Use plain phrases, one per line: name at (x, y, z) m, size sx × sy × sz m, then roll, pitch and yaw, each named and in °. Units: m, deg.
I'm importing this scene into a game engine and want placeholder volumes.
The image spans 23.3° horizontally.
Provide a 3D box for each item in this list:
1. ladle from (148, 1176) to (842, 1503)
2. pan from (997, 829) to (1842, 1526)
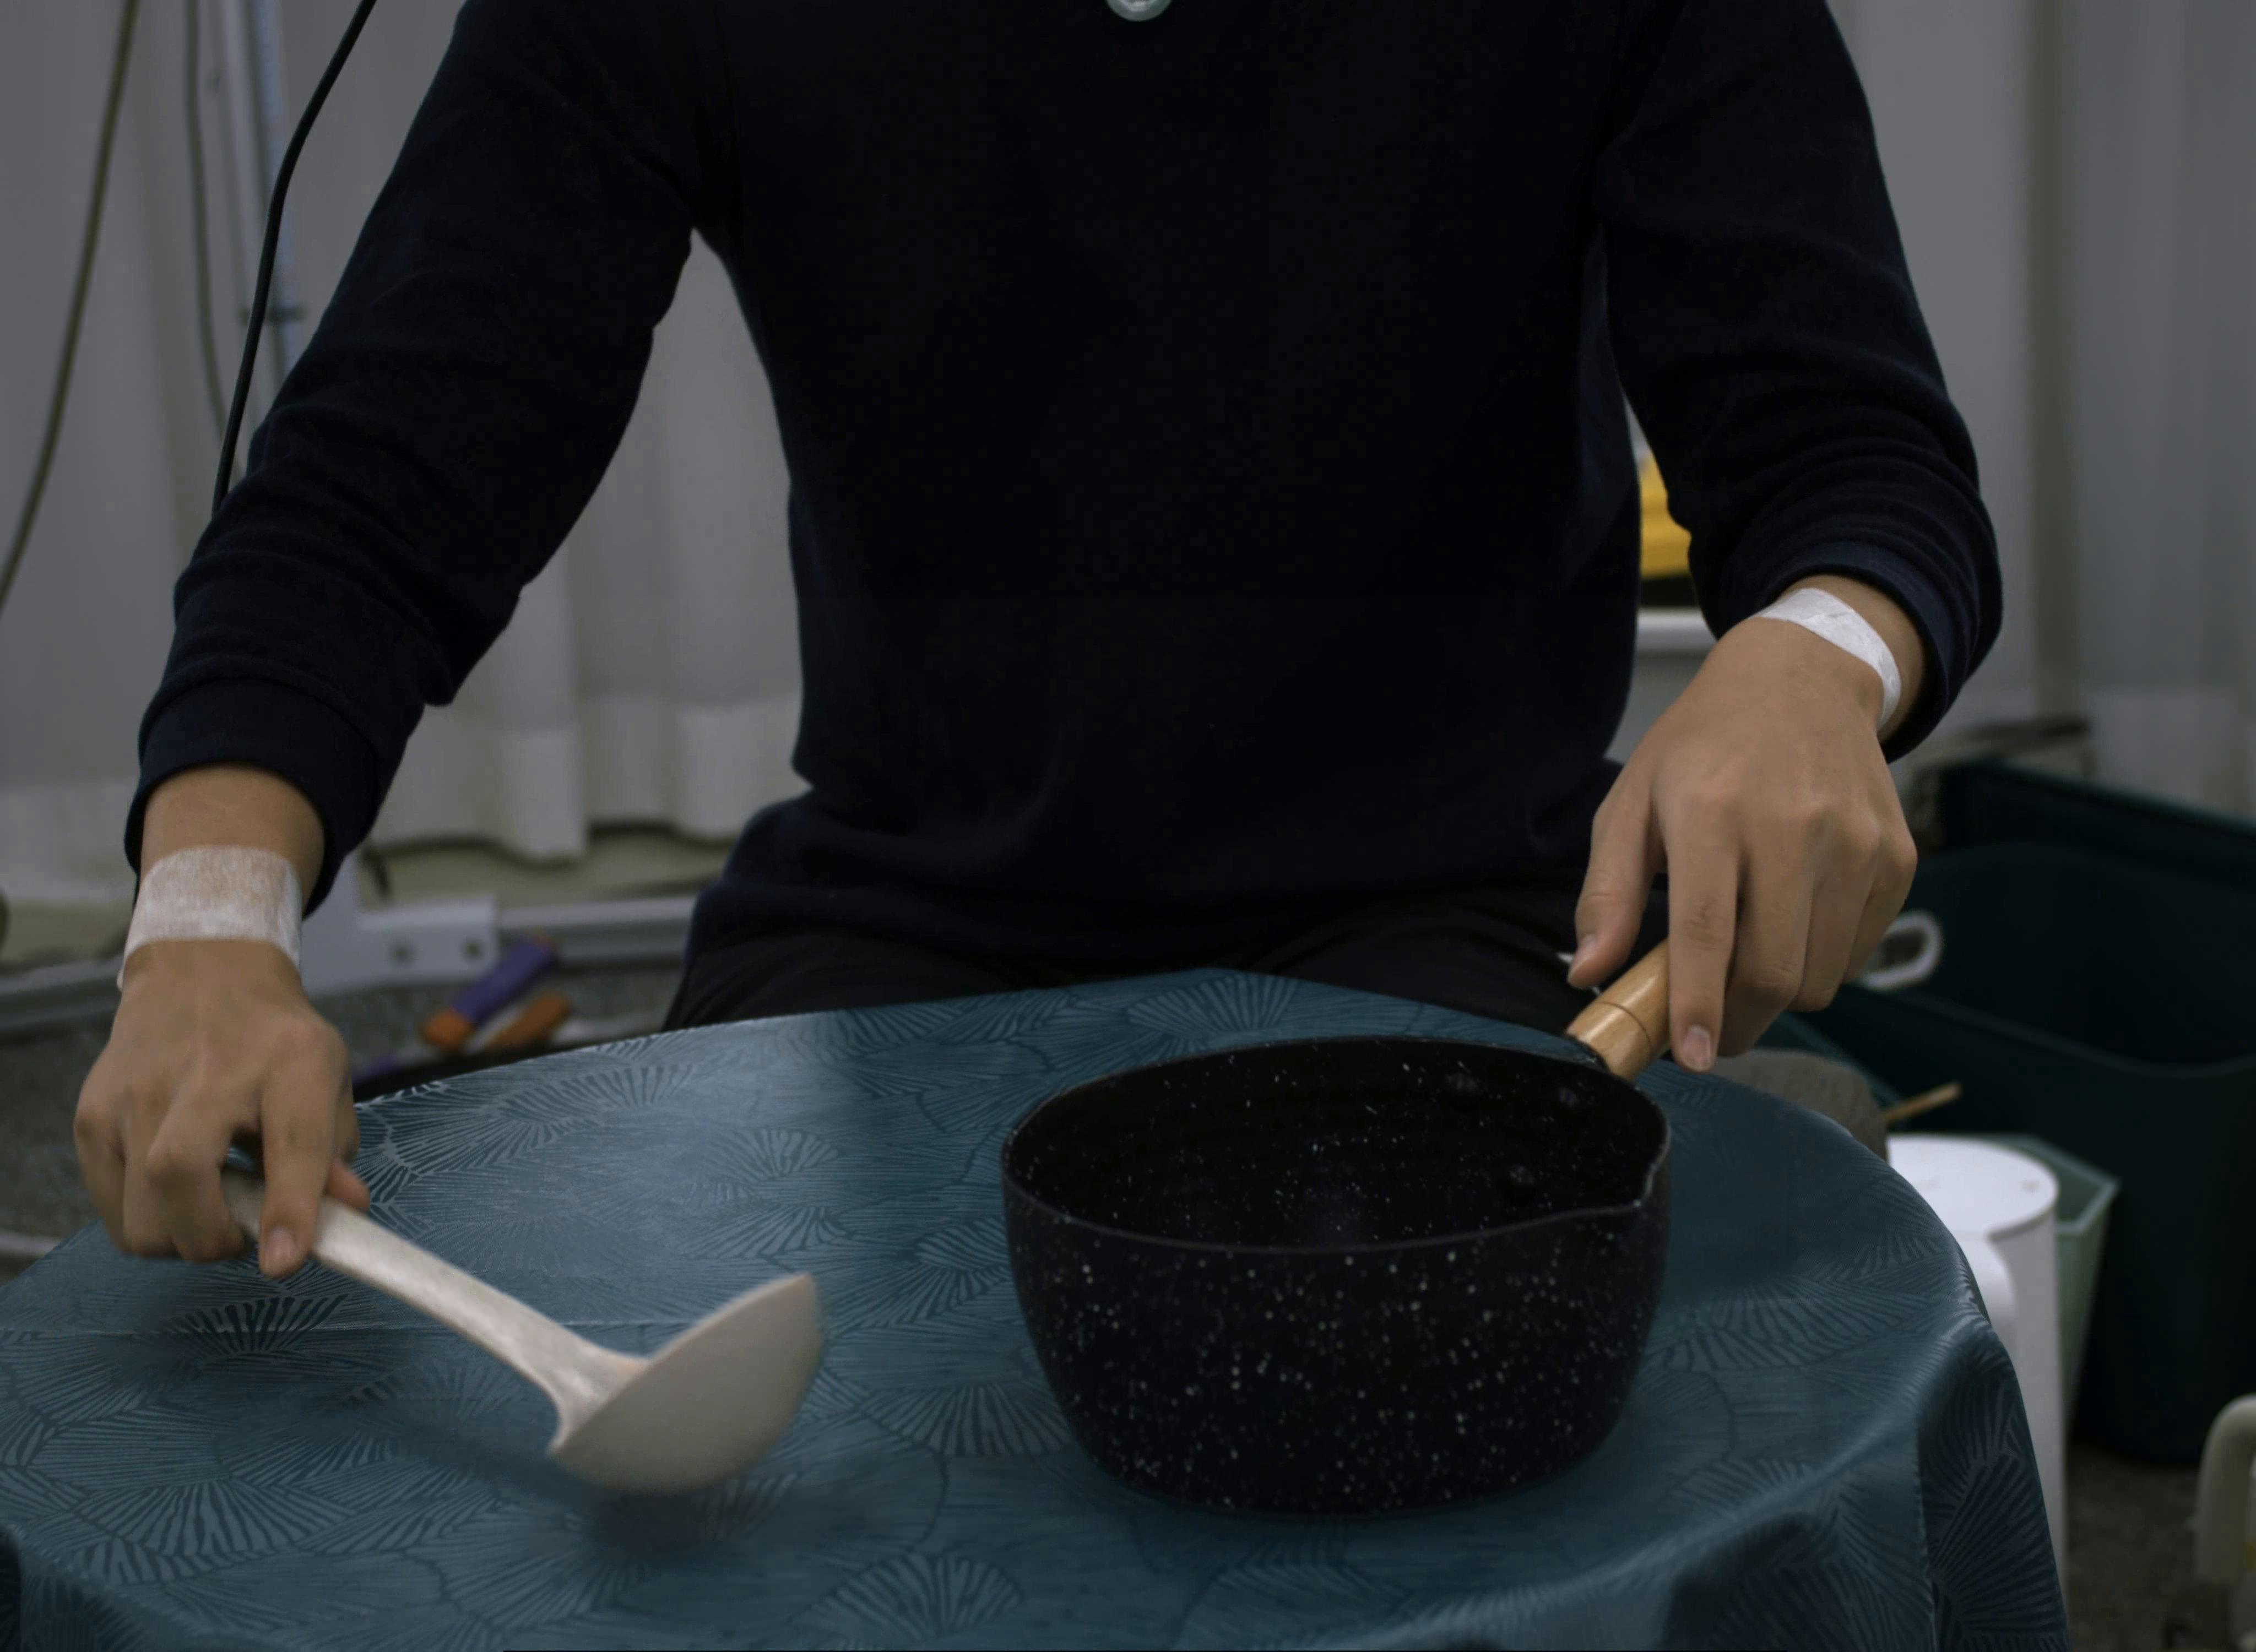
ladle at (-0.191, 0.118, 1.535) m, size 0.277 × 0.069 × 0.089 m, roll 21°, pitch 33°, yaw 40°
pan at (0.106, 0.095, 1.561) m, size 0.208 × 0.108 × 0.343 m, roll 7°, pitch 19°, yaw 37°
